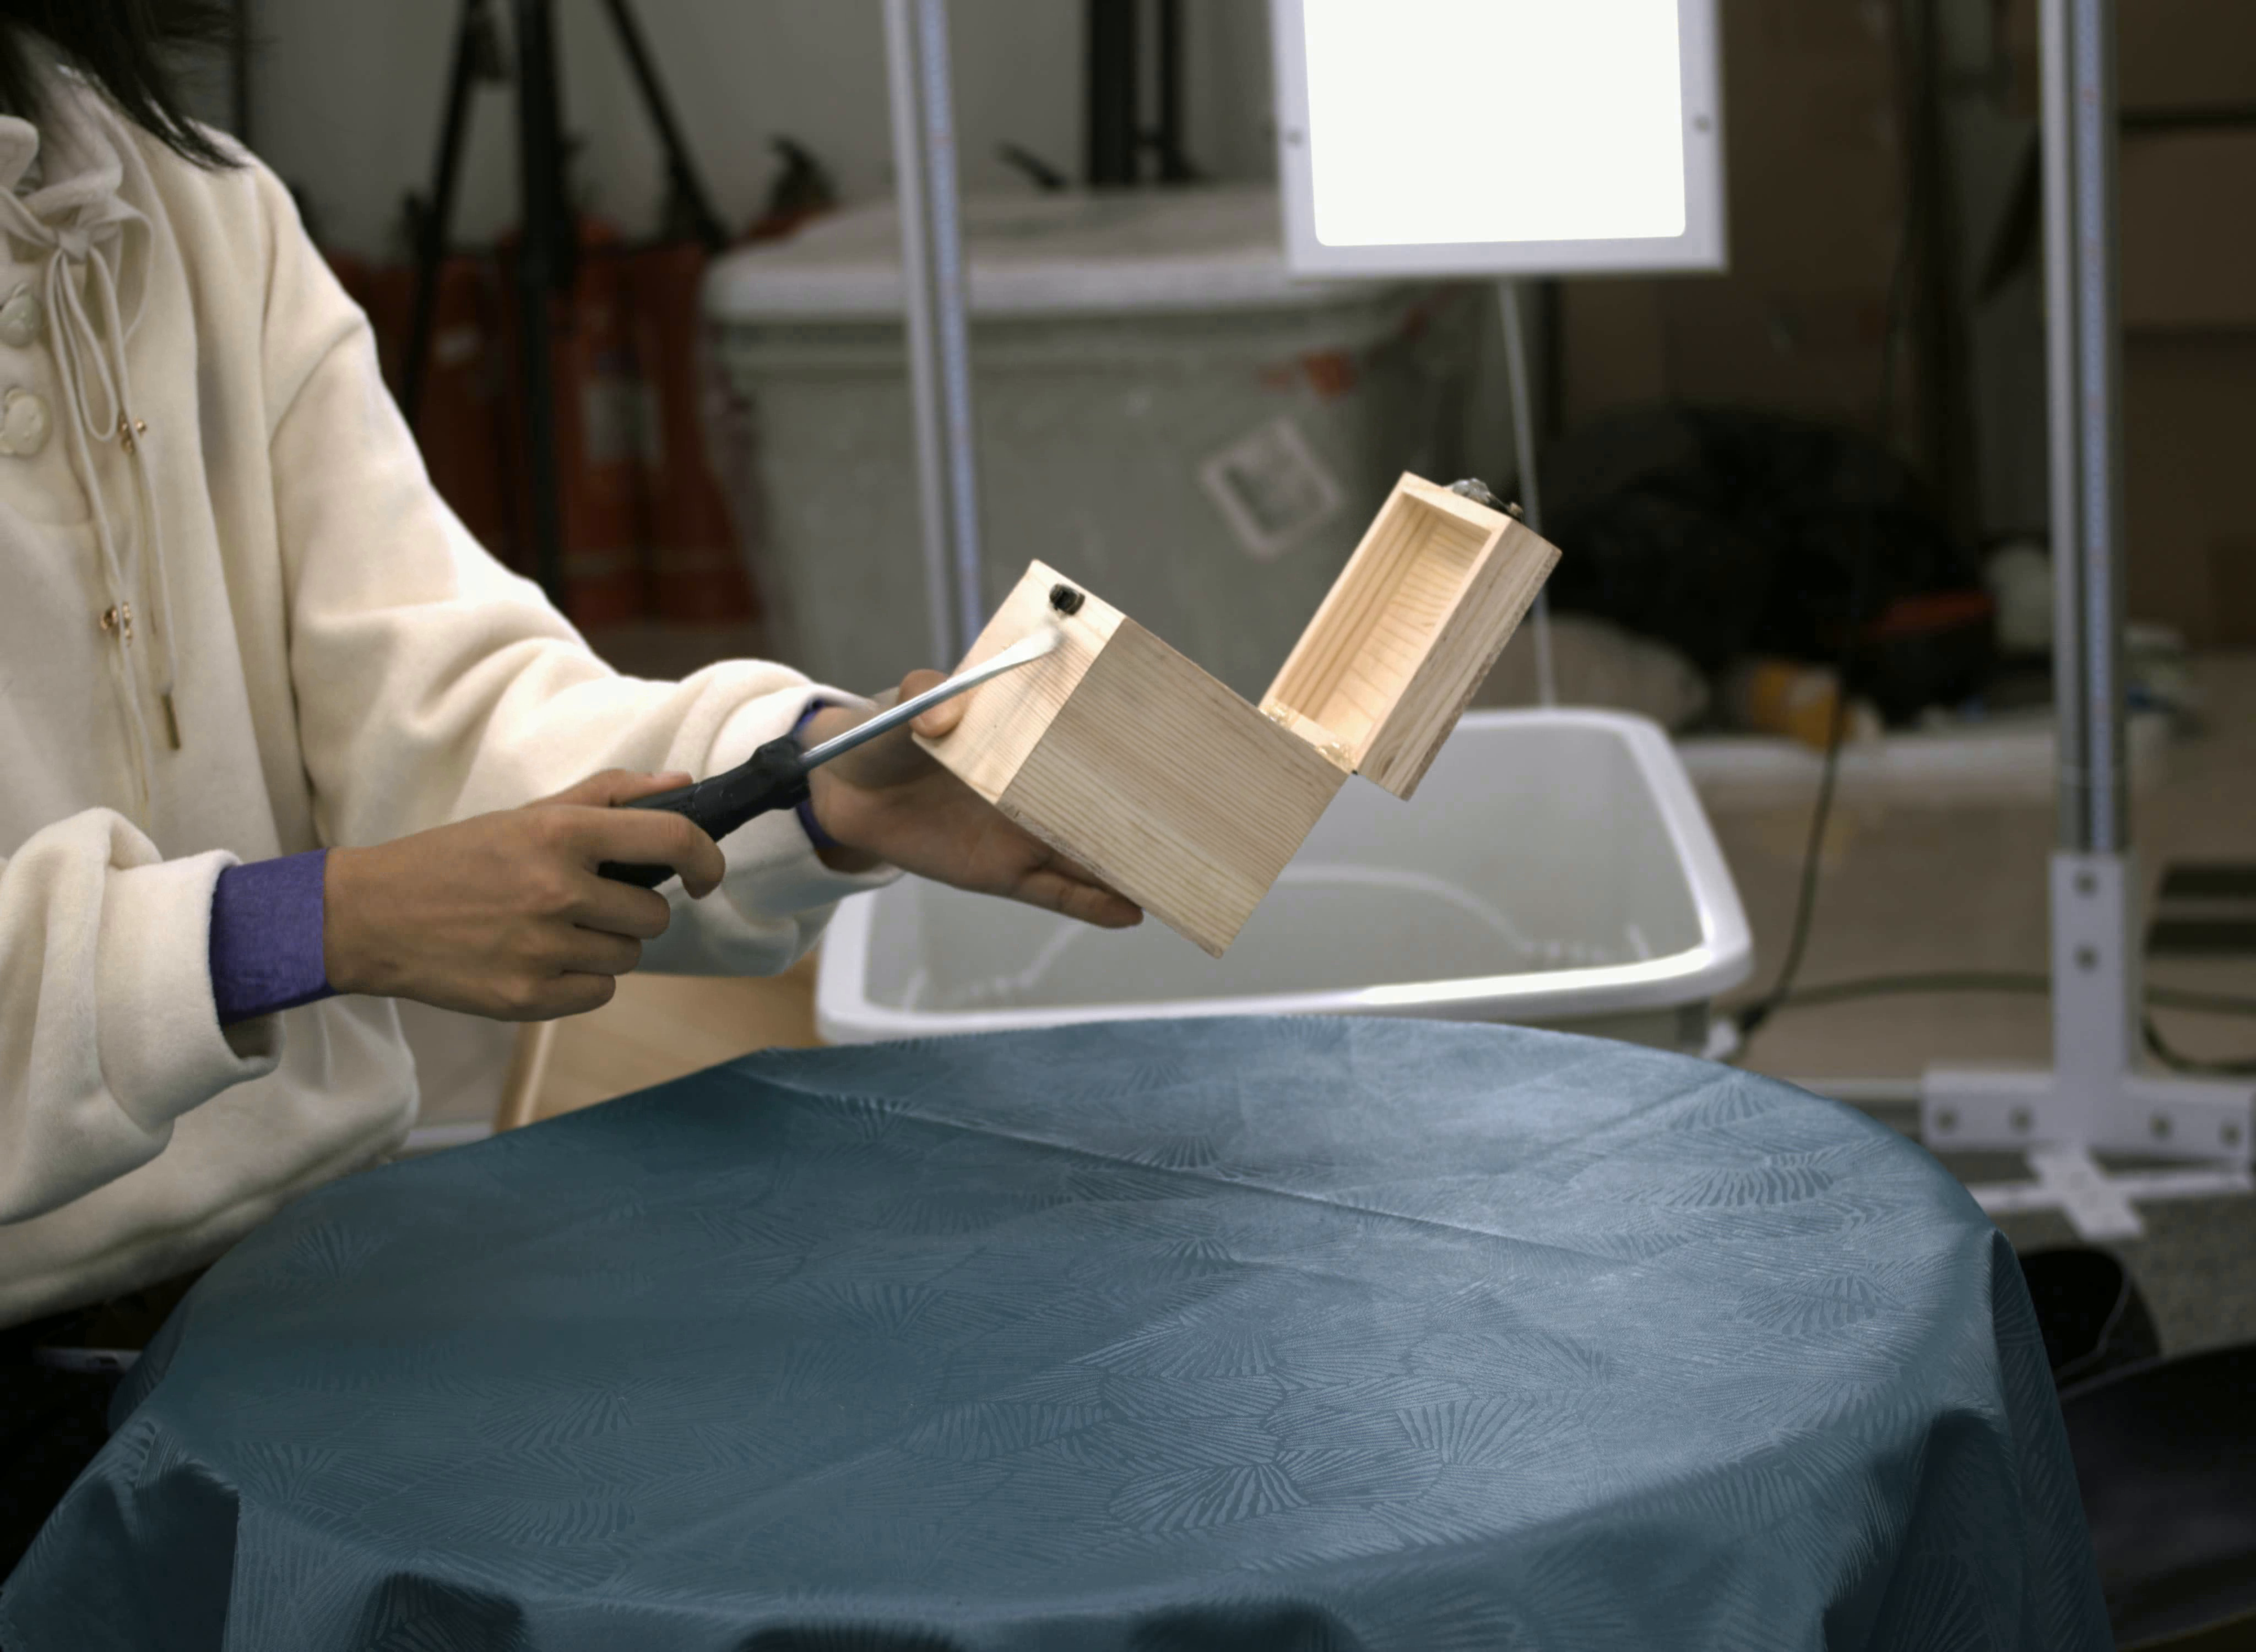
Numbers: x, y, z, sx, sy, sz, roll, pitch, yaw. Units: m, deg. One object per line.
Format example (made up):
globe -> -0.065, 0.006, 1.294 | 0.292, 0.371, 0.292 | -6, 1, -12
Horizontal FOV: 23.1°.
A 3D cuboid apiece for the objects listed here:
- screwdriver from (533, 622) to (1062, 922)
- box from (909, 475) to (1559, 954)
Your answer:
screwdriver -> -0.108, -0.018, 1.845 | 0.197, 0.031, 0.031 | -25, 15, 0
box -> 0.035, -0.063, 1.888 | 0.132, 0.185, 0.103 | 35, 2, -21
